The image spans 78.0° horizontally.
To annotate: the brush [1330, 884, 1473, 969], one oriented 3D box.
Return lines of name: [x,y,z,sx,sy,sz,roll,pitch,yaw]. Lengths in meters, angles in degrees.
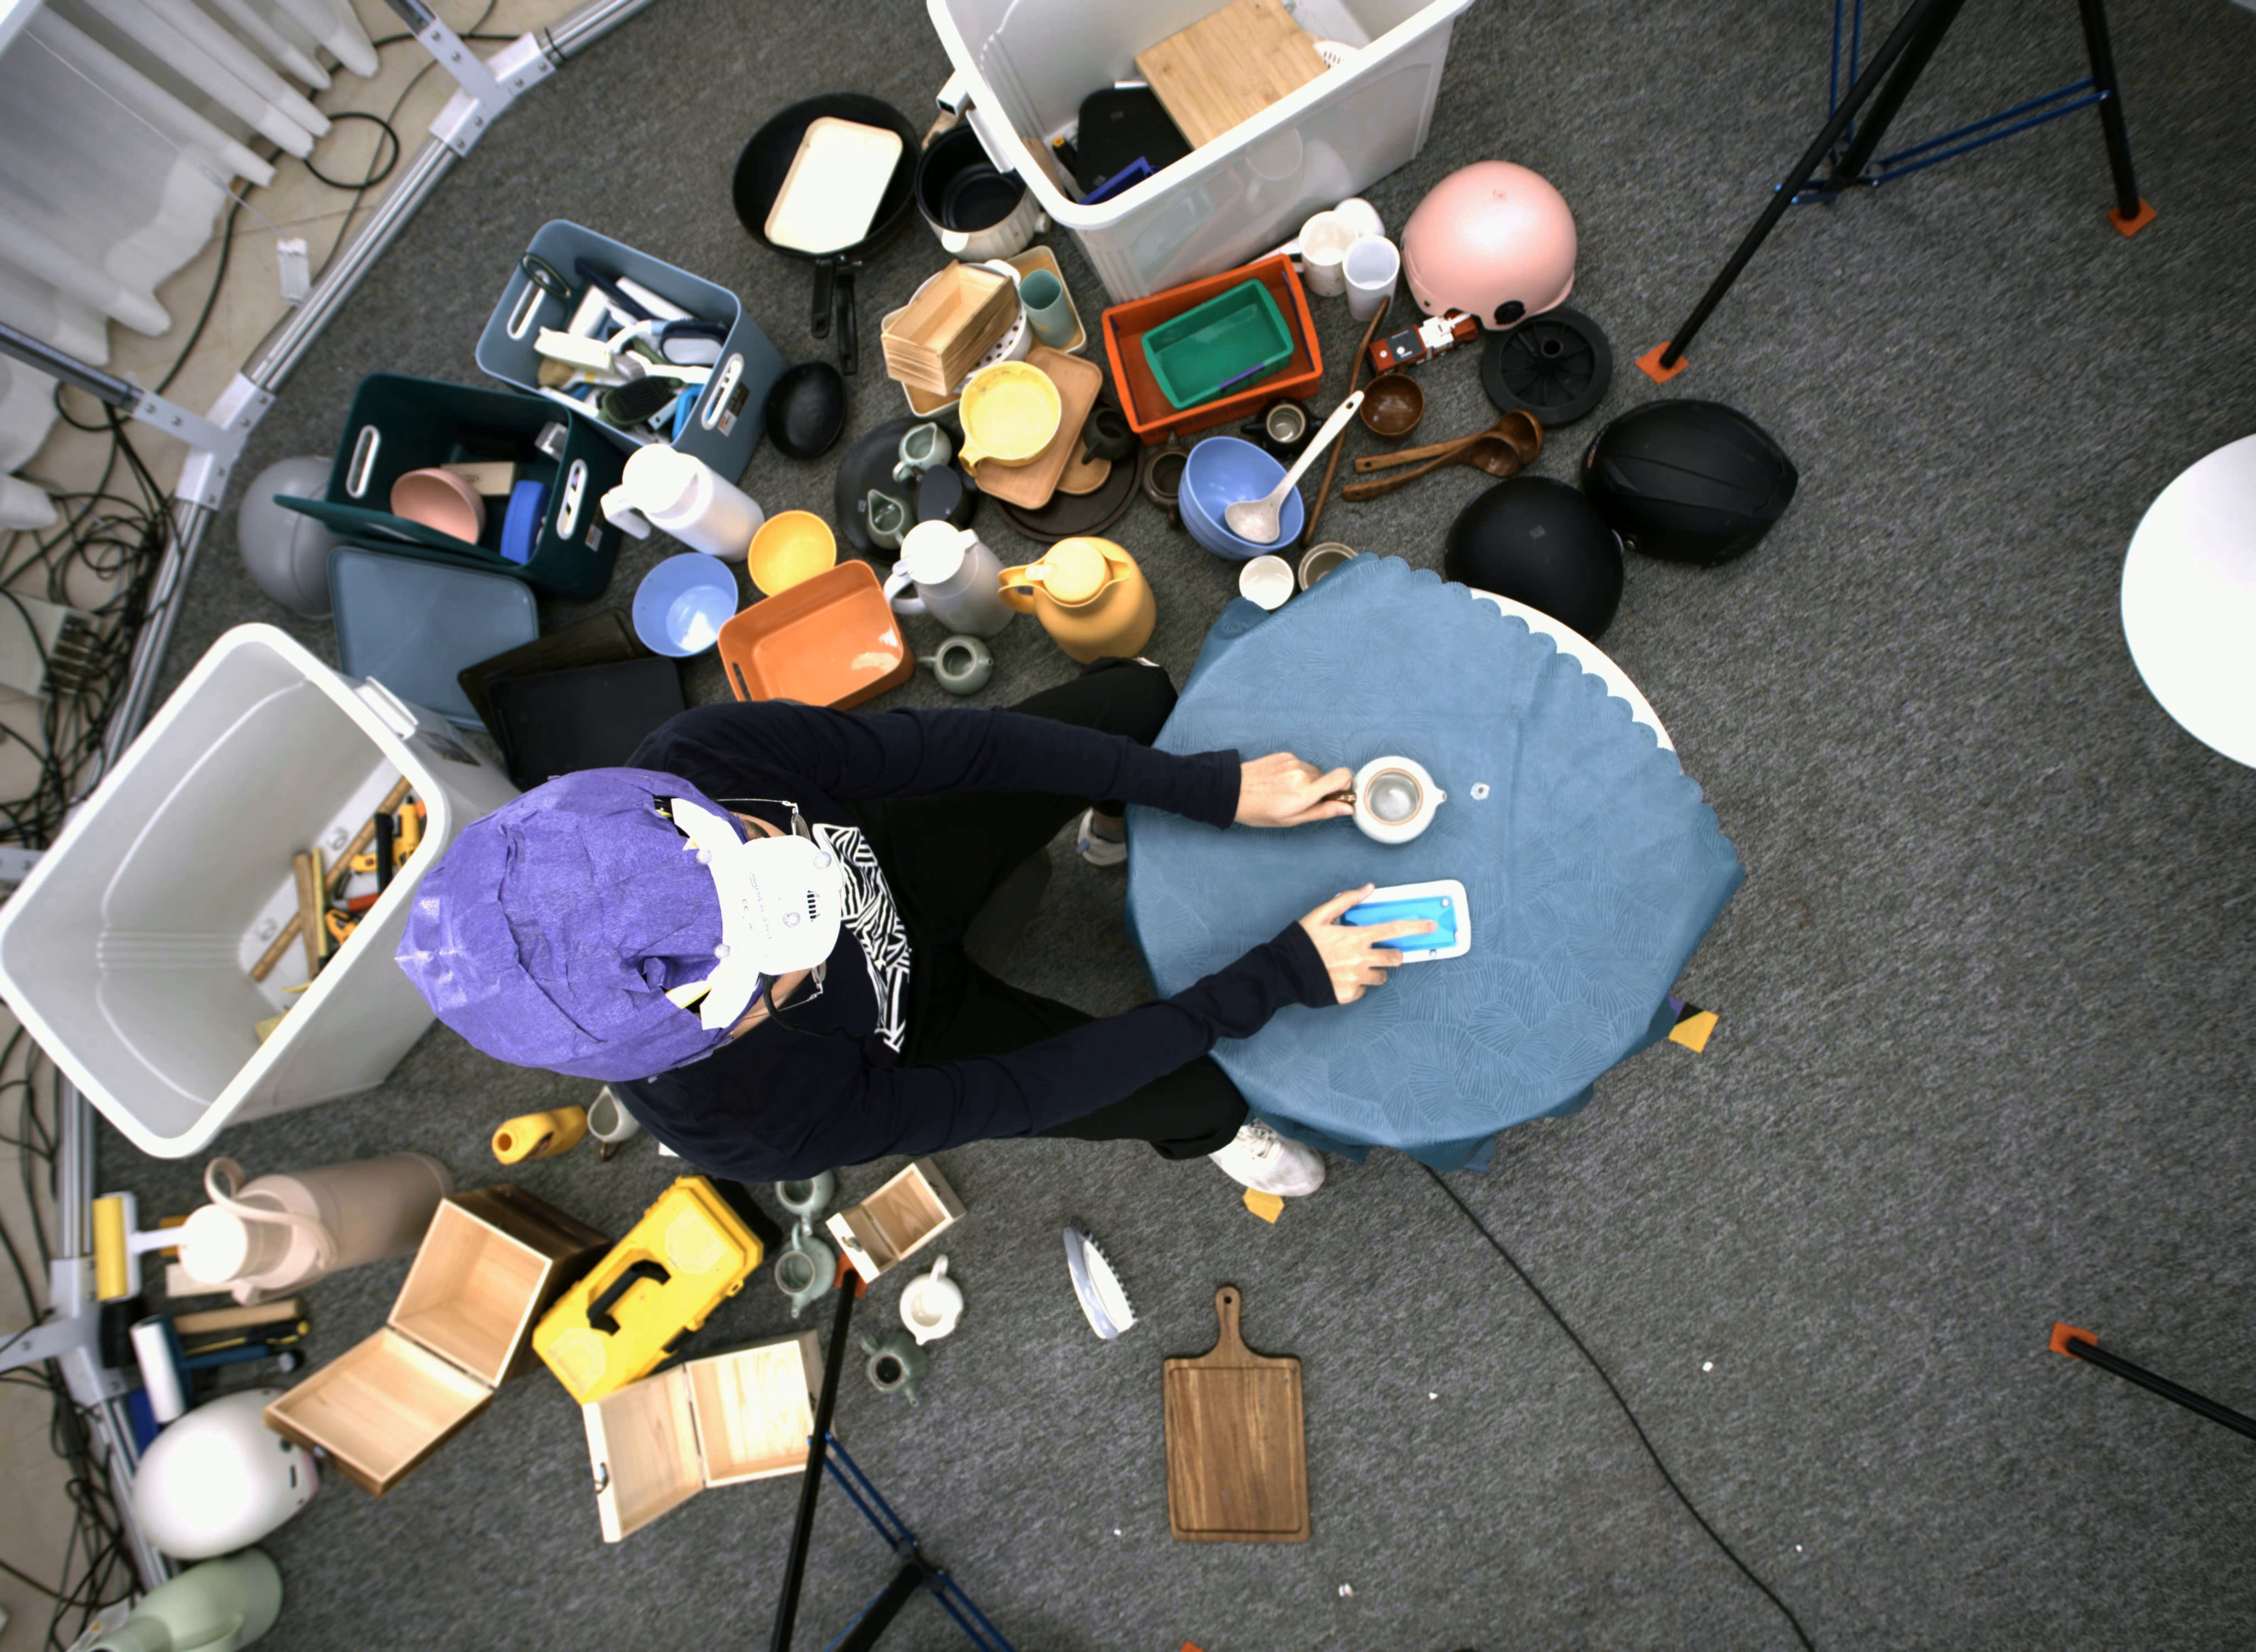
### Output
brush: [0.282,0.098,1.421,0.144,0.056,0.083,-6,79,4]

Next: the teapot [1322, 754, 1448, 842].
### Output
teapot: [0.266,-0.030,1.434,0.128,0.059,0.091,-3,89,8]
